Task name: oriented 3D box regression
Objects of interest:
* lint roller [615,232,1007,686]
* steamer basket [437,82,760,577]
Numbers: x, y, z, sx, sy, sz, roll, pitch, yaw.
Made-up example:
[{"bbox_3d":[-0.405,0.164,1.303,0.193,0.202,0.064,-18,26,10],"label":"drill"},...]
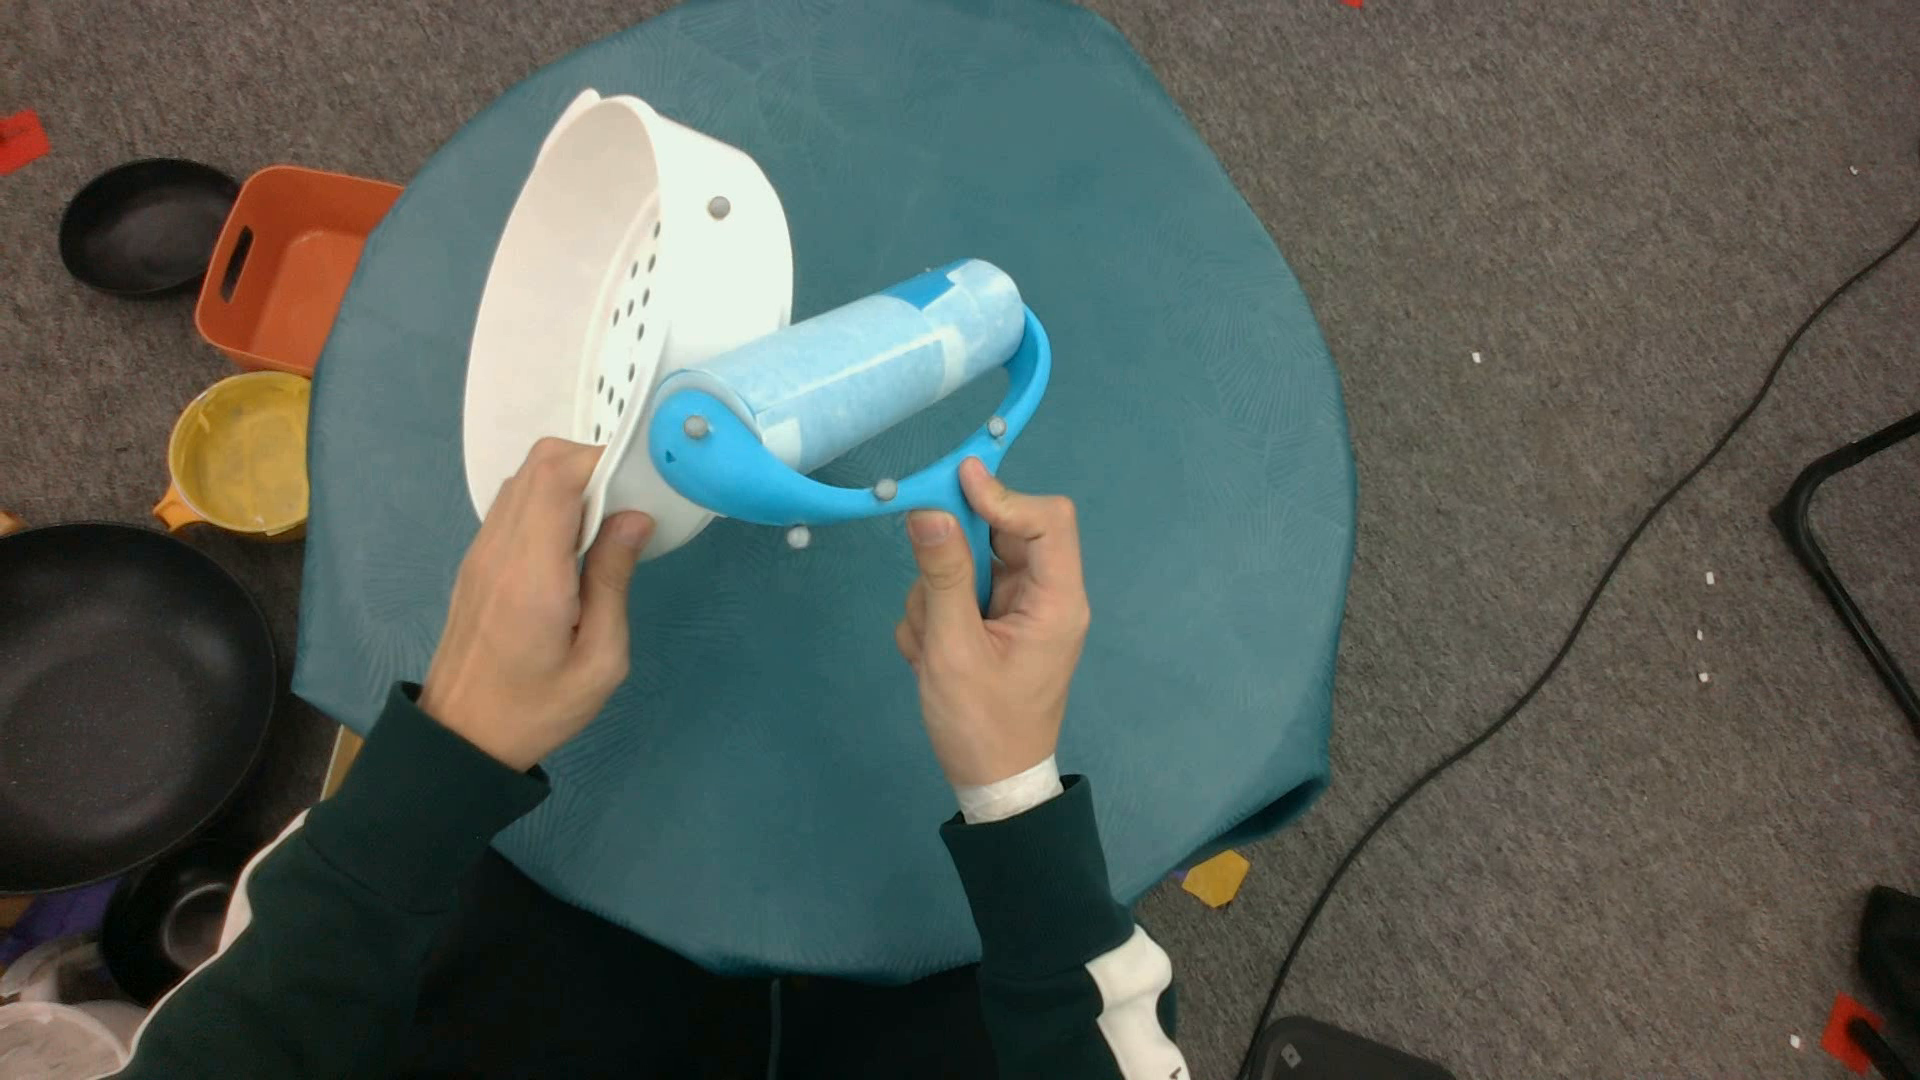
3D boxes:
[{"bbox_3d":[-0.032,-0.024,0.574,0.230,0.067,0.180,-47,117,-53],"label":"lint roller"},{"bbox_3d":[-0.165,-0.093,0.614,0.069,0.201,0.231,9,61,-40],"label":"steamer basket"}]
